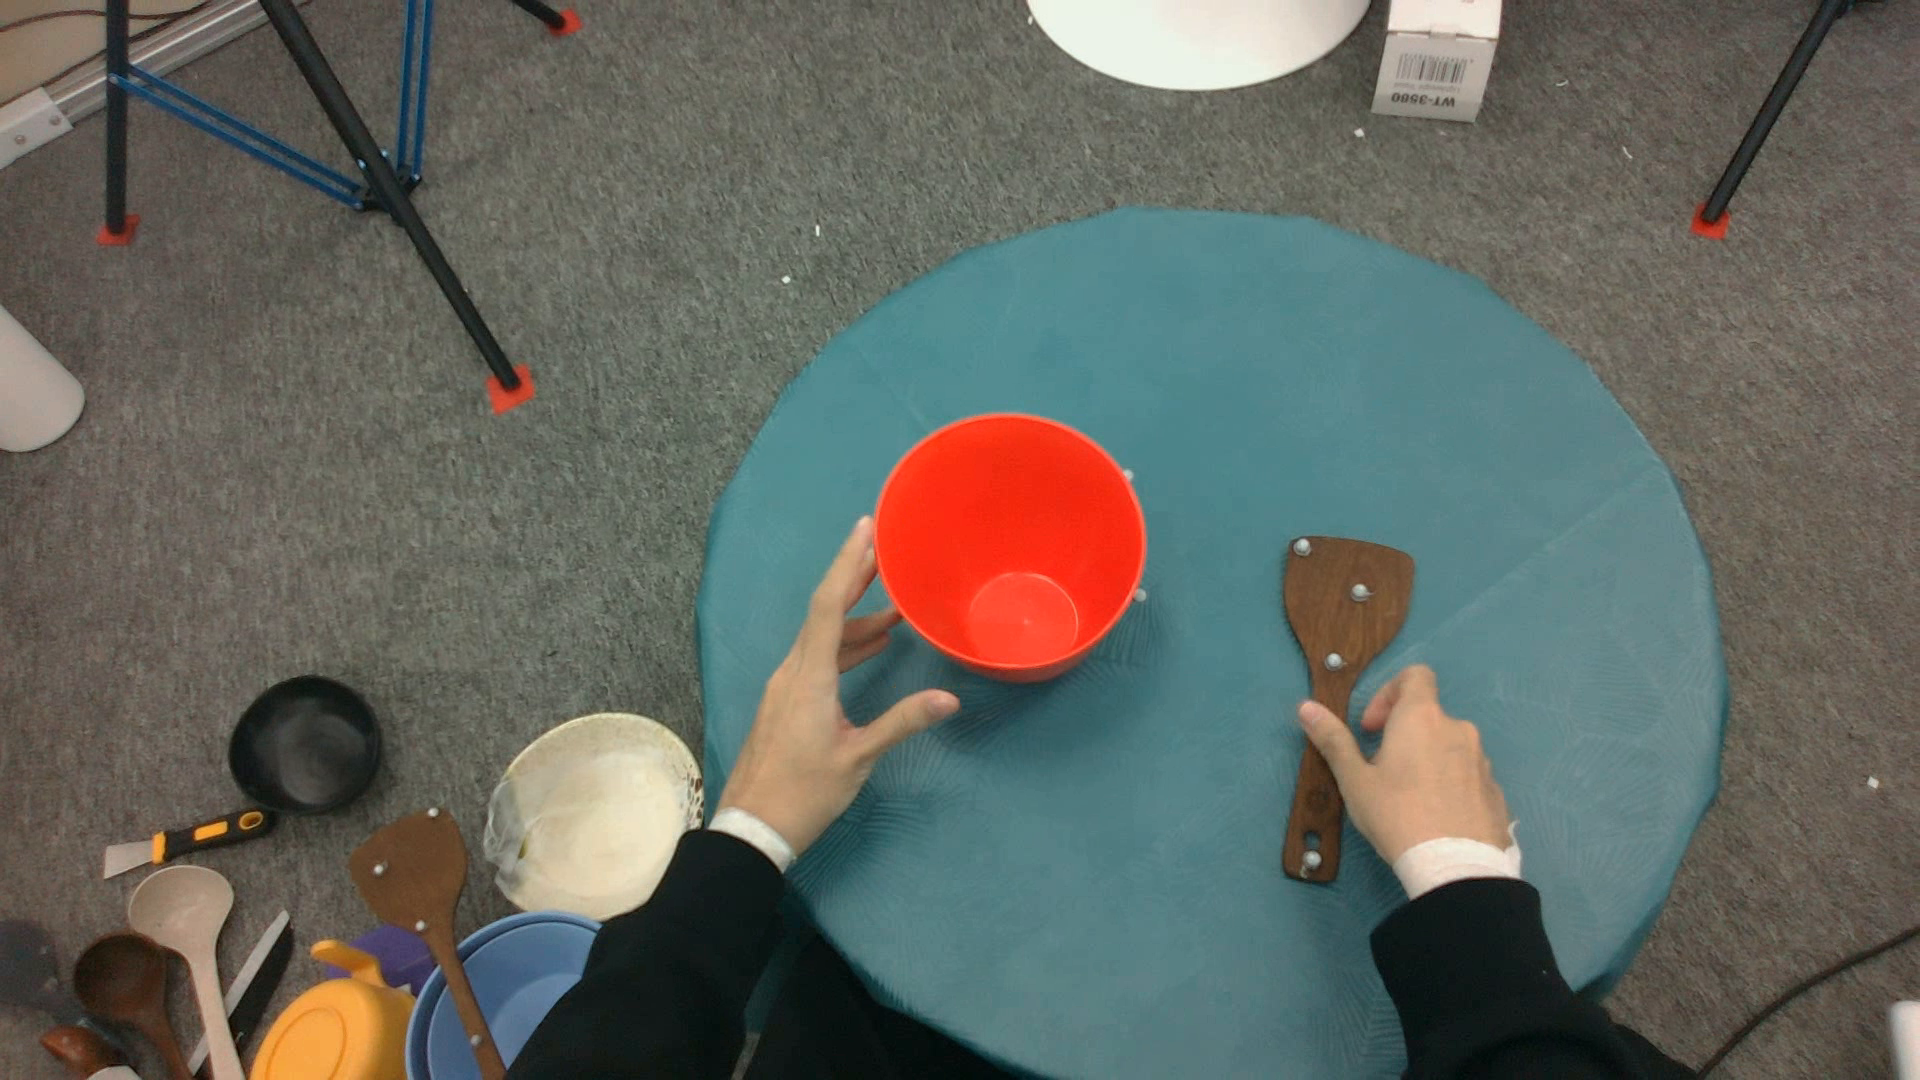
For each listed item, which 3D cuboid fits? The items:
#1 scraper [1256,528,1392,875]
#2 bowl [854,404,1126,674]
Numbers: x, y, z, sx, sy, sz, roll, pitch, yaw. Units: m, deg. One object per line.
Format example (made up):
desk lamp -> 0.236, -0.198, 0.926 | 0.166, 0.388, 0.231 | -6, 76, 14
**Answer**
scraper -> 0.196, 0.086, 0.778 | 0.076, 0.011, 0.212 | 11, 61, 11
bowl -> 0.018, 0.012, 0.779 | 0.148, 0.104, 0.148 | -1, 61, 1
